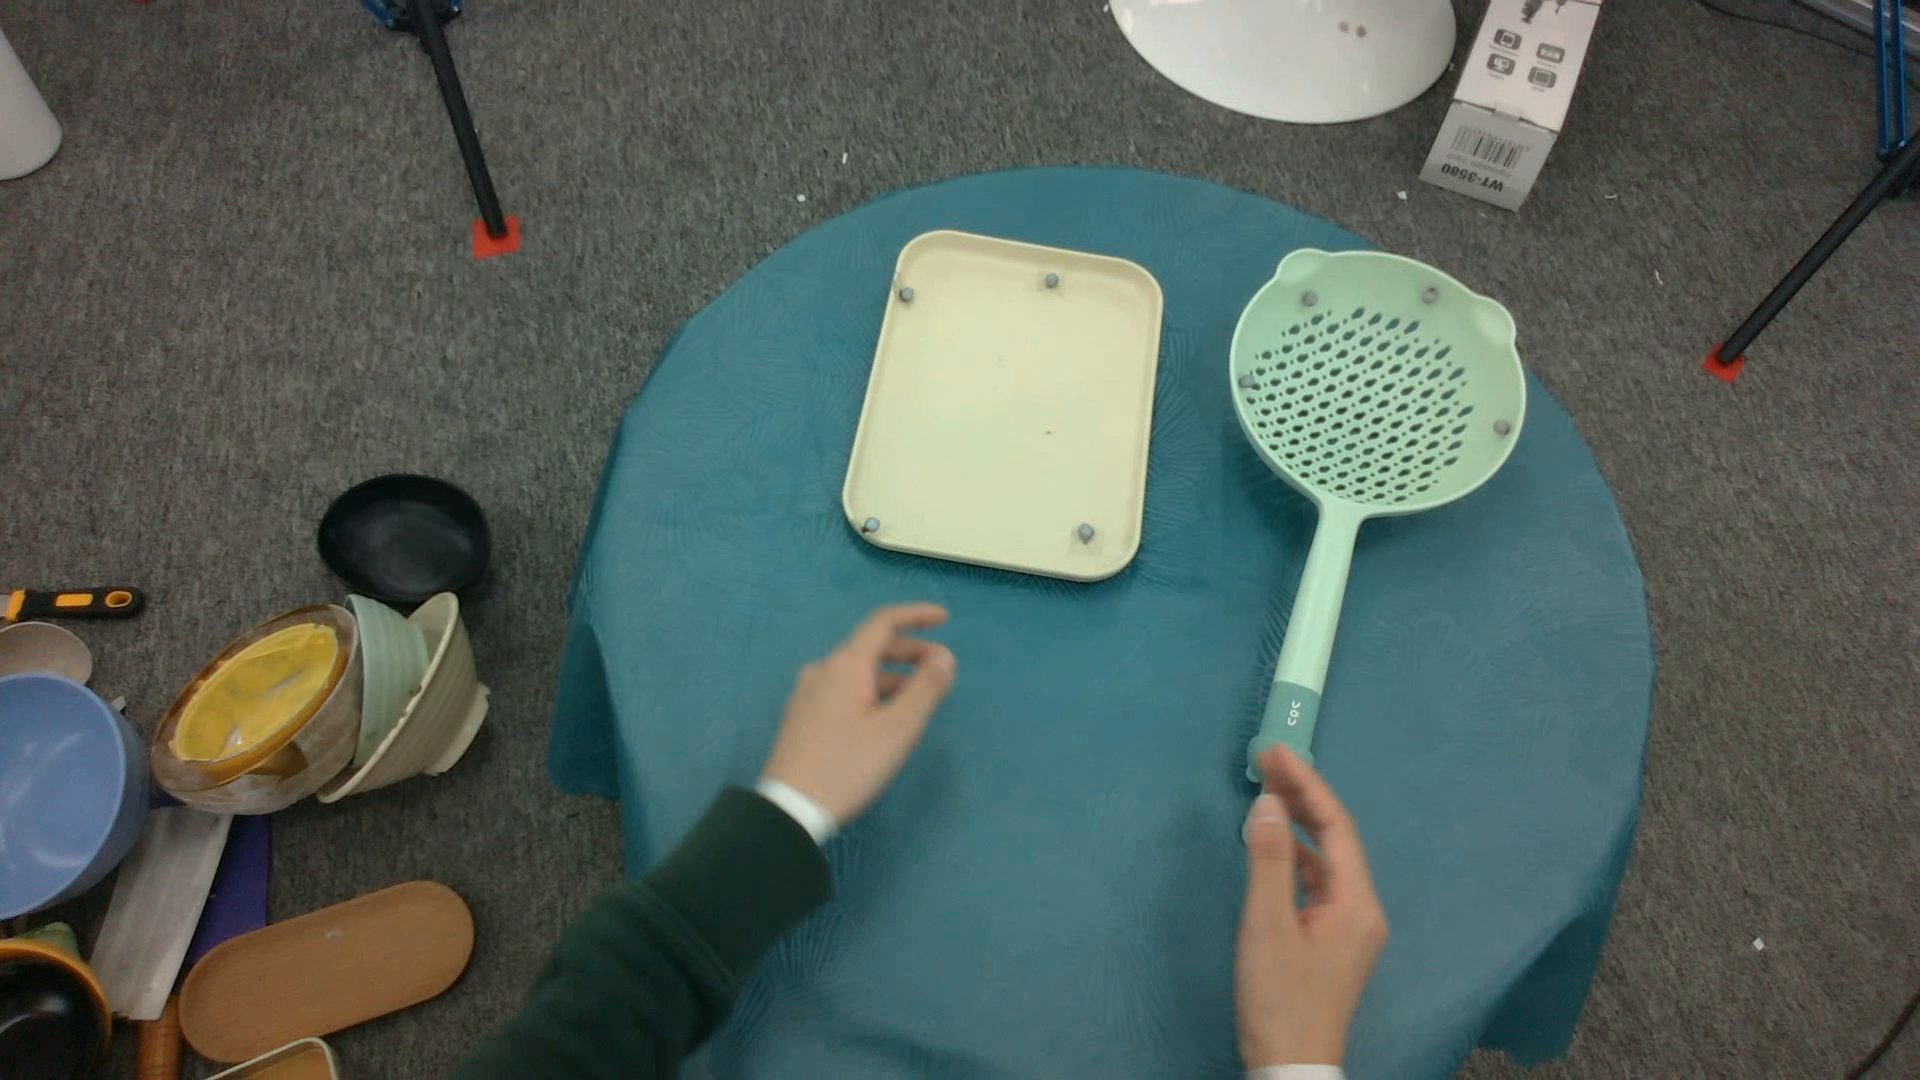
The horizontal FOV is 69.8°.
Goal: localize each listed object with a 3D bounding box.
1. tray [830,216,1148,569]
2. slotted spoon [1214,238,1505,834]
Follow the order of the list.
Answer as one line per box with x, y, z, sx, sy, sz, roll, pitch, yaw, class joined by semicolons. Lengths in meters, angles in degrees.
0.022;-0.093;0.823;0.171;0.017;0.241;9;59;0;tray
0.199;-0.012;0.766;0.169;0.075;0.360;18;59;6;slotted spoon
